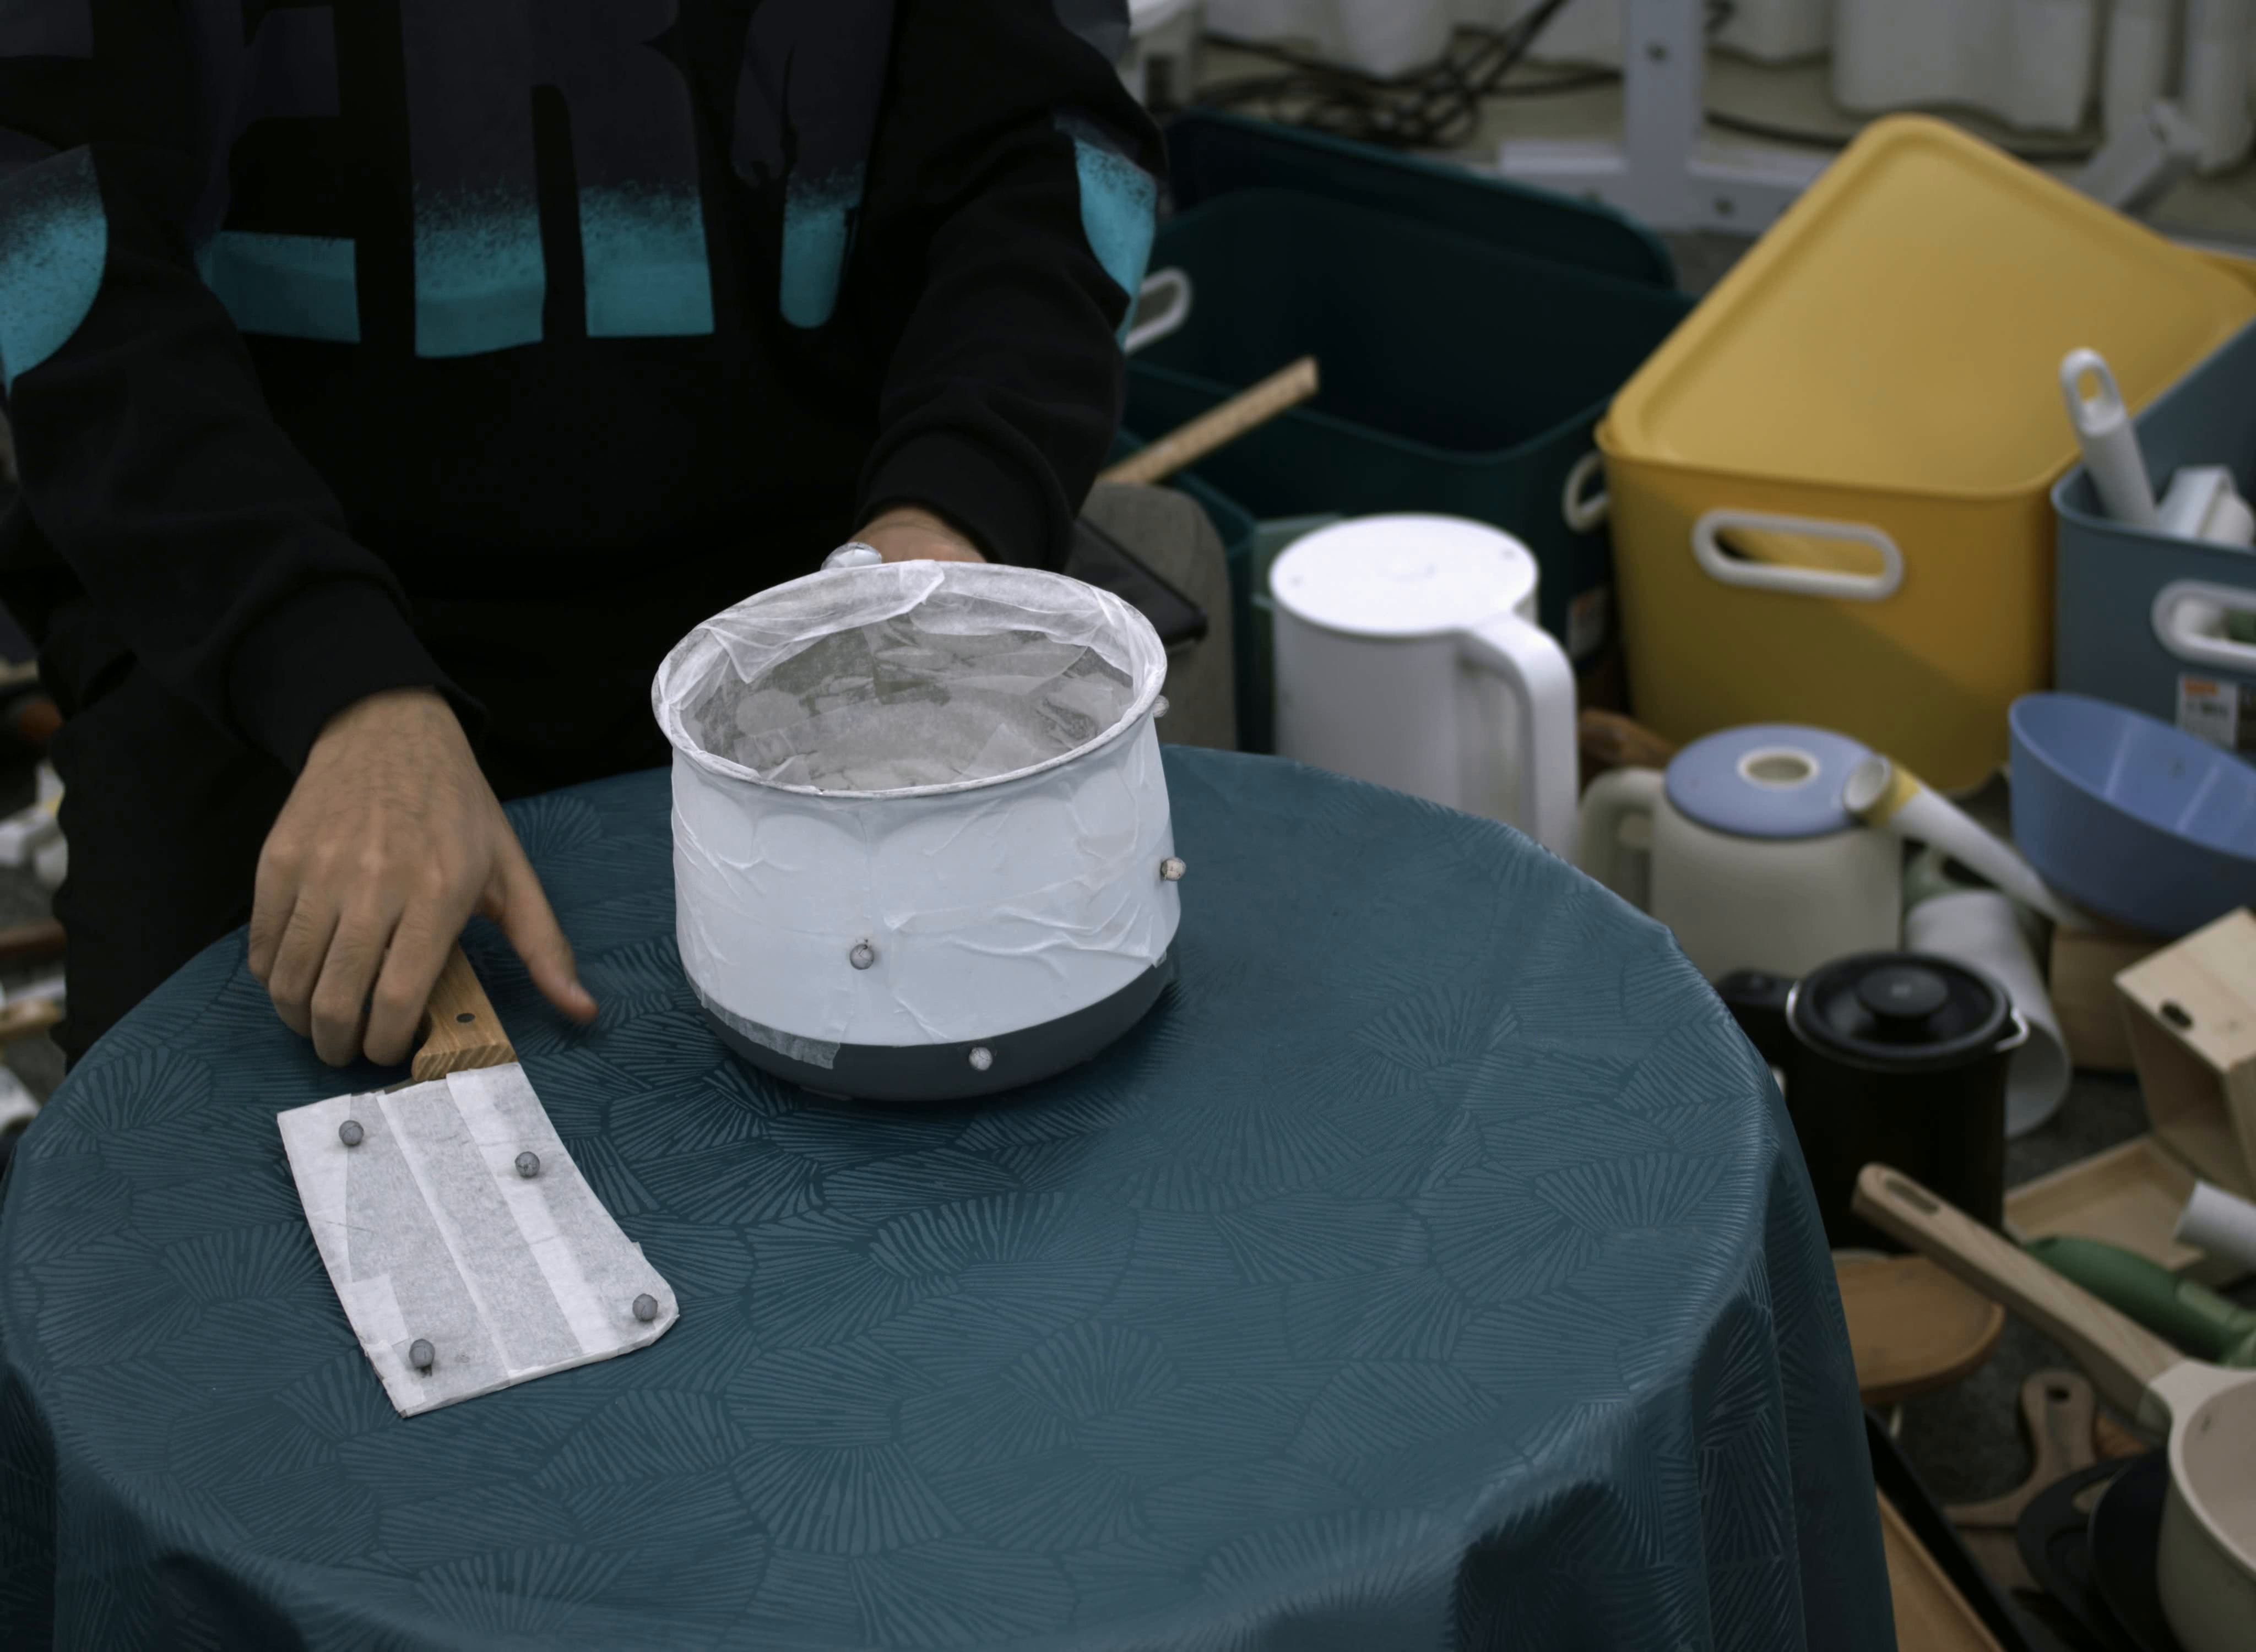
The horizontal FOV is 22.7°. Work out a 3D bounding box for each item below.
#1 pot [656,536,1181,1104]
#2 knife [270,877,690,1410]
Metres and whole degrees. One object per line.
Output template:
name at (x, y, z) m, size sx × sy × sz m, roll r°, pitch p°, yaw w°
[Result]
pot at (-0.078, -0.009, 1.972) m, size 0.179 × 0.135 × 0.236 m, roll -9°, pitch 29°, yaw -12°
knife at (-0.231, 0.103, 1.902) m, size 0.114 × 0.021 × 0.319 m, roll -10°, pitch 31°, yaw -13°
